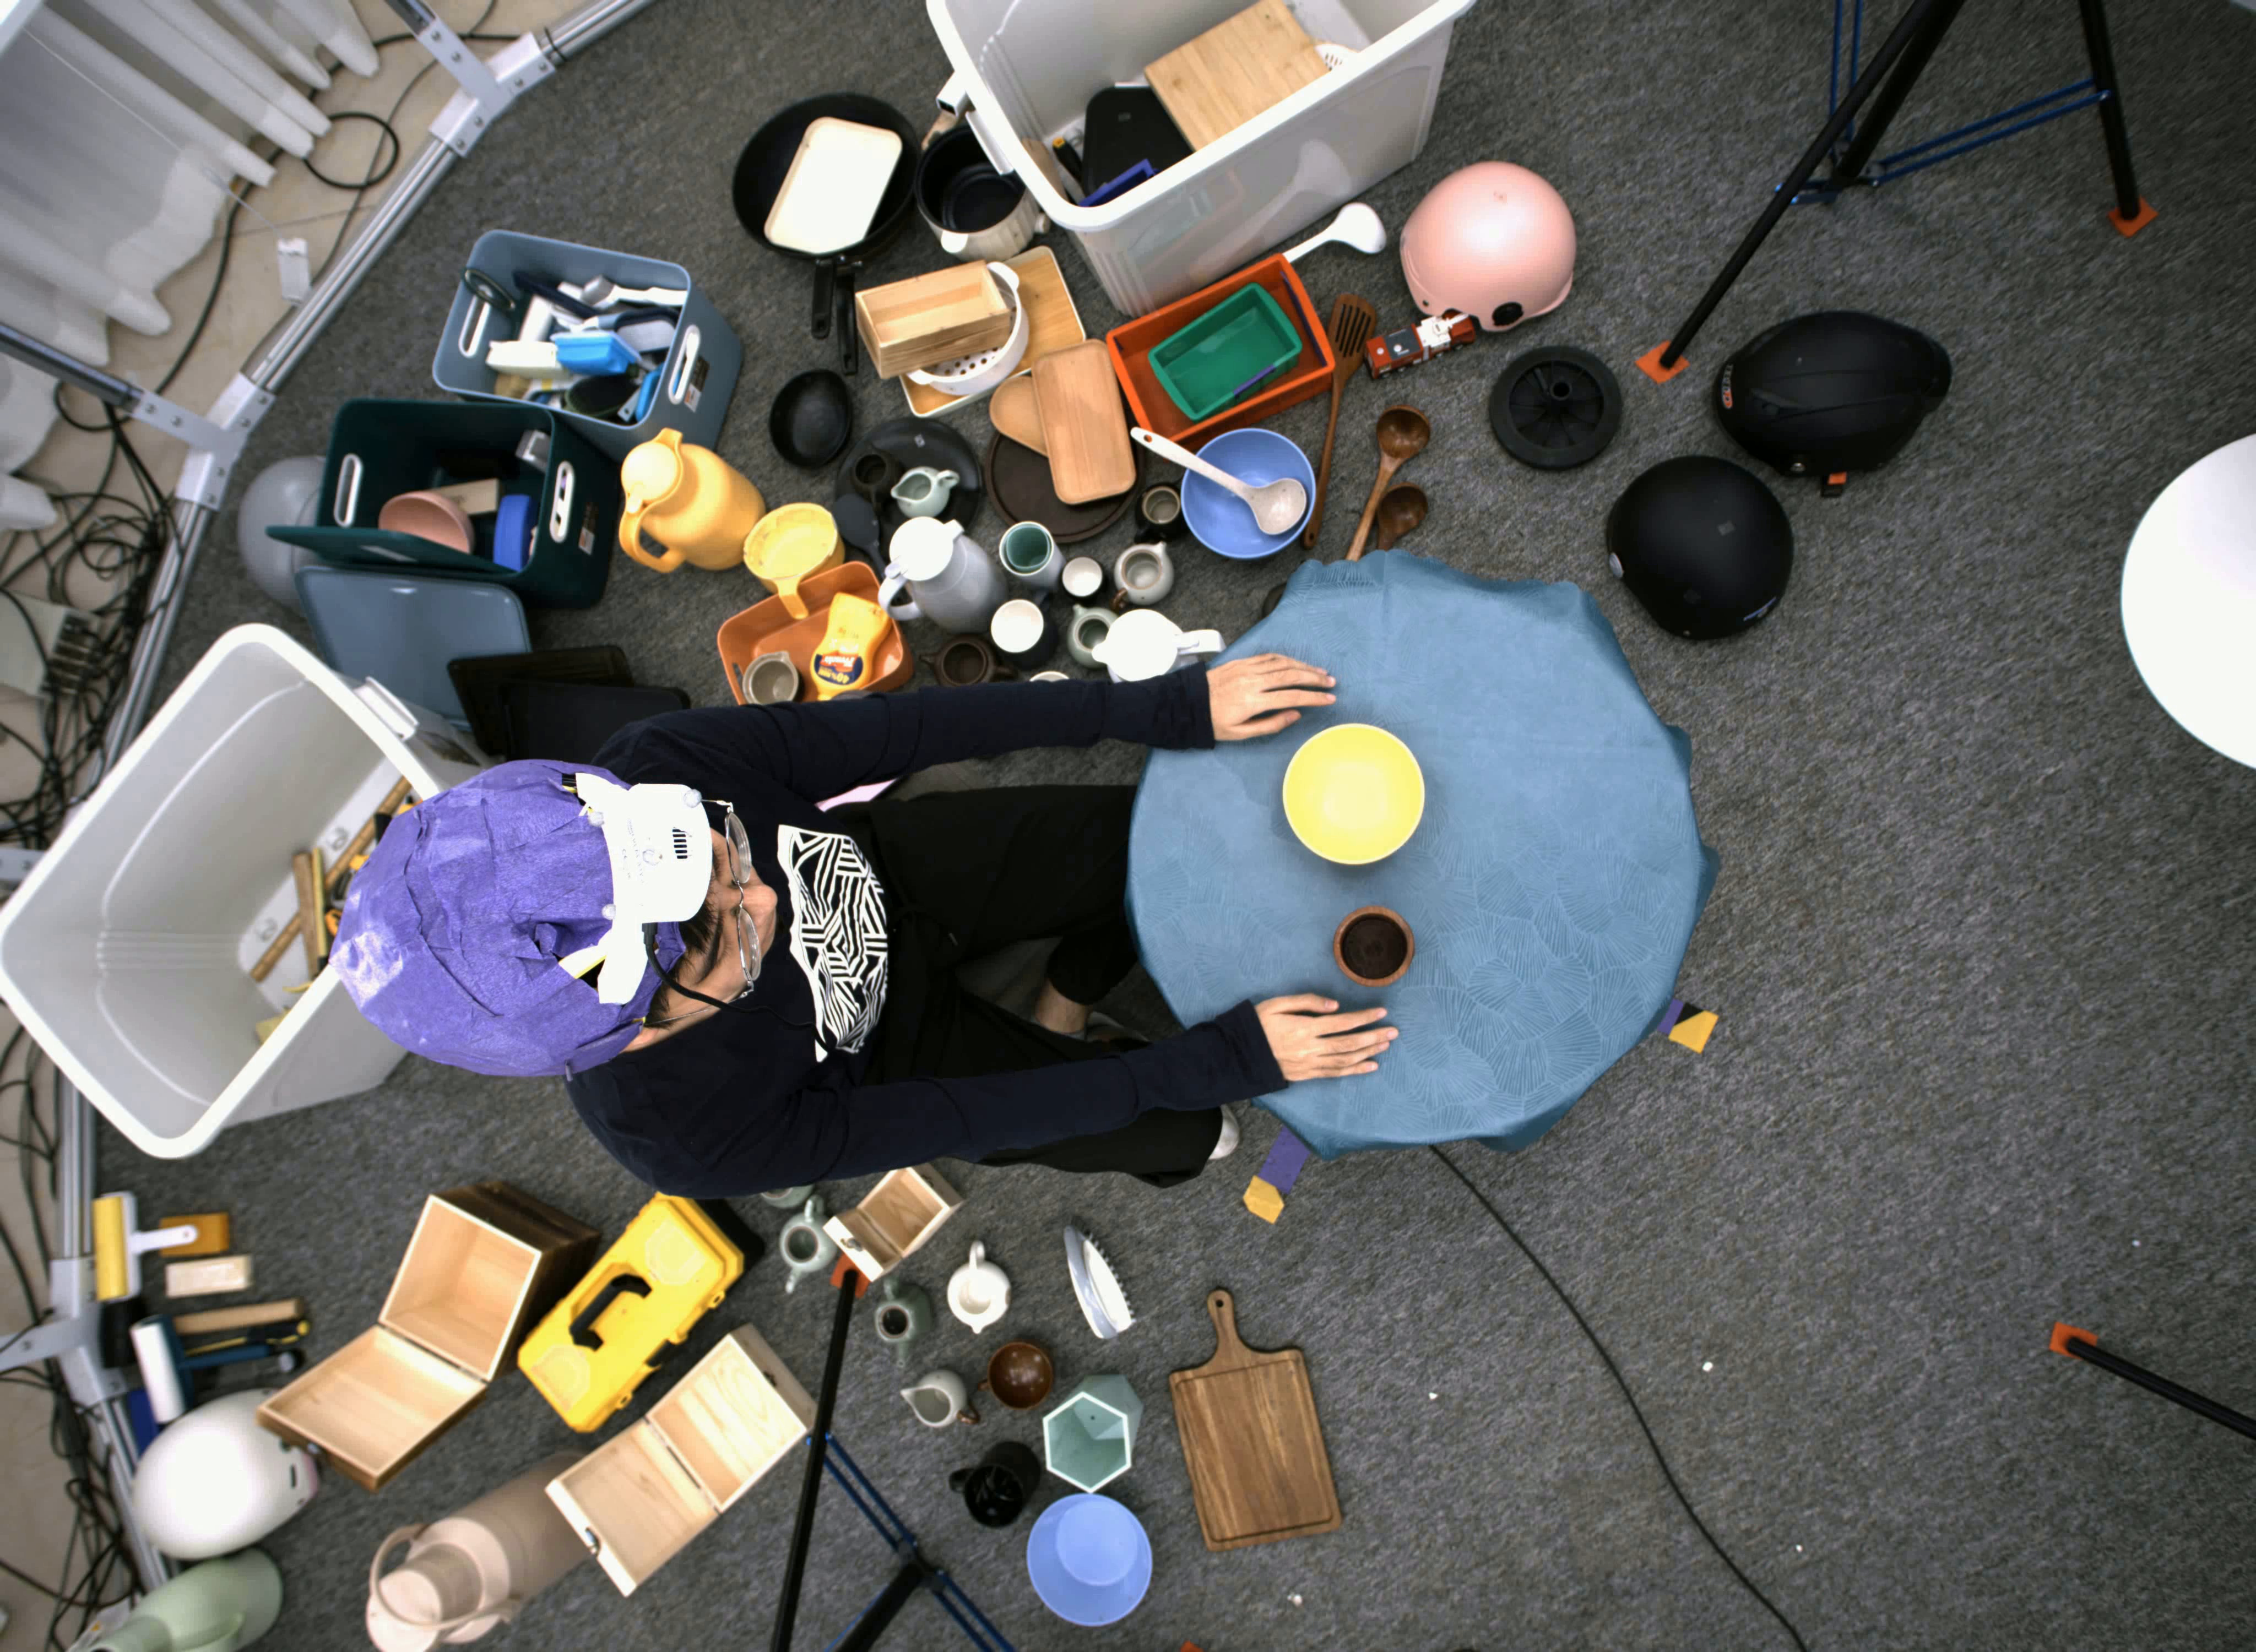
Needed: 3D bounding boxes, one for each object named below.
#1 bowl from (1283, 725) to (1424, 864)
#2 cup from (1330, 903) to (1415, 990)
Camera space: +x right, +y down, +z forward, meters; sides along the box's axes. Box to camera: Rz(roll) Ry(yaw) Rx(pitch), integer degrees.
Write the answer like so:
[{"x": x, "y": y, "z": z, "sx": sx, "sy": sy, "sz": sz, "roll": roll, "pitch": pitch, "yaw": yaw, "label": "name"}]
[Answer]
[{"x": 0.237, "y": -0.030, "z": 1.441, "sx": 0.146, "sy": 0.060, "sz": 0.144, "roll": -1, "pitch": 86, "yaw": 12, "label": "bowl"}, {"x": 0.249, "y": 0.124, "z": 1.401, "sx": 0.088, "sy": 0.118, "sz": 0.087, "roll": -1, "pitch": 83, "yaw": 11, "label": "cup"}]
